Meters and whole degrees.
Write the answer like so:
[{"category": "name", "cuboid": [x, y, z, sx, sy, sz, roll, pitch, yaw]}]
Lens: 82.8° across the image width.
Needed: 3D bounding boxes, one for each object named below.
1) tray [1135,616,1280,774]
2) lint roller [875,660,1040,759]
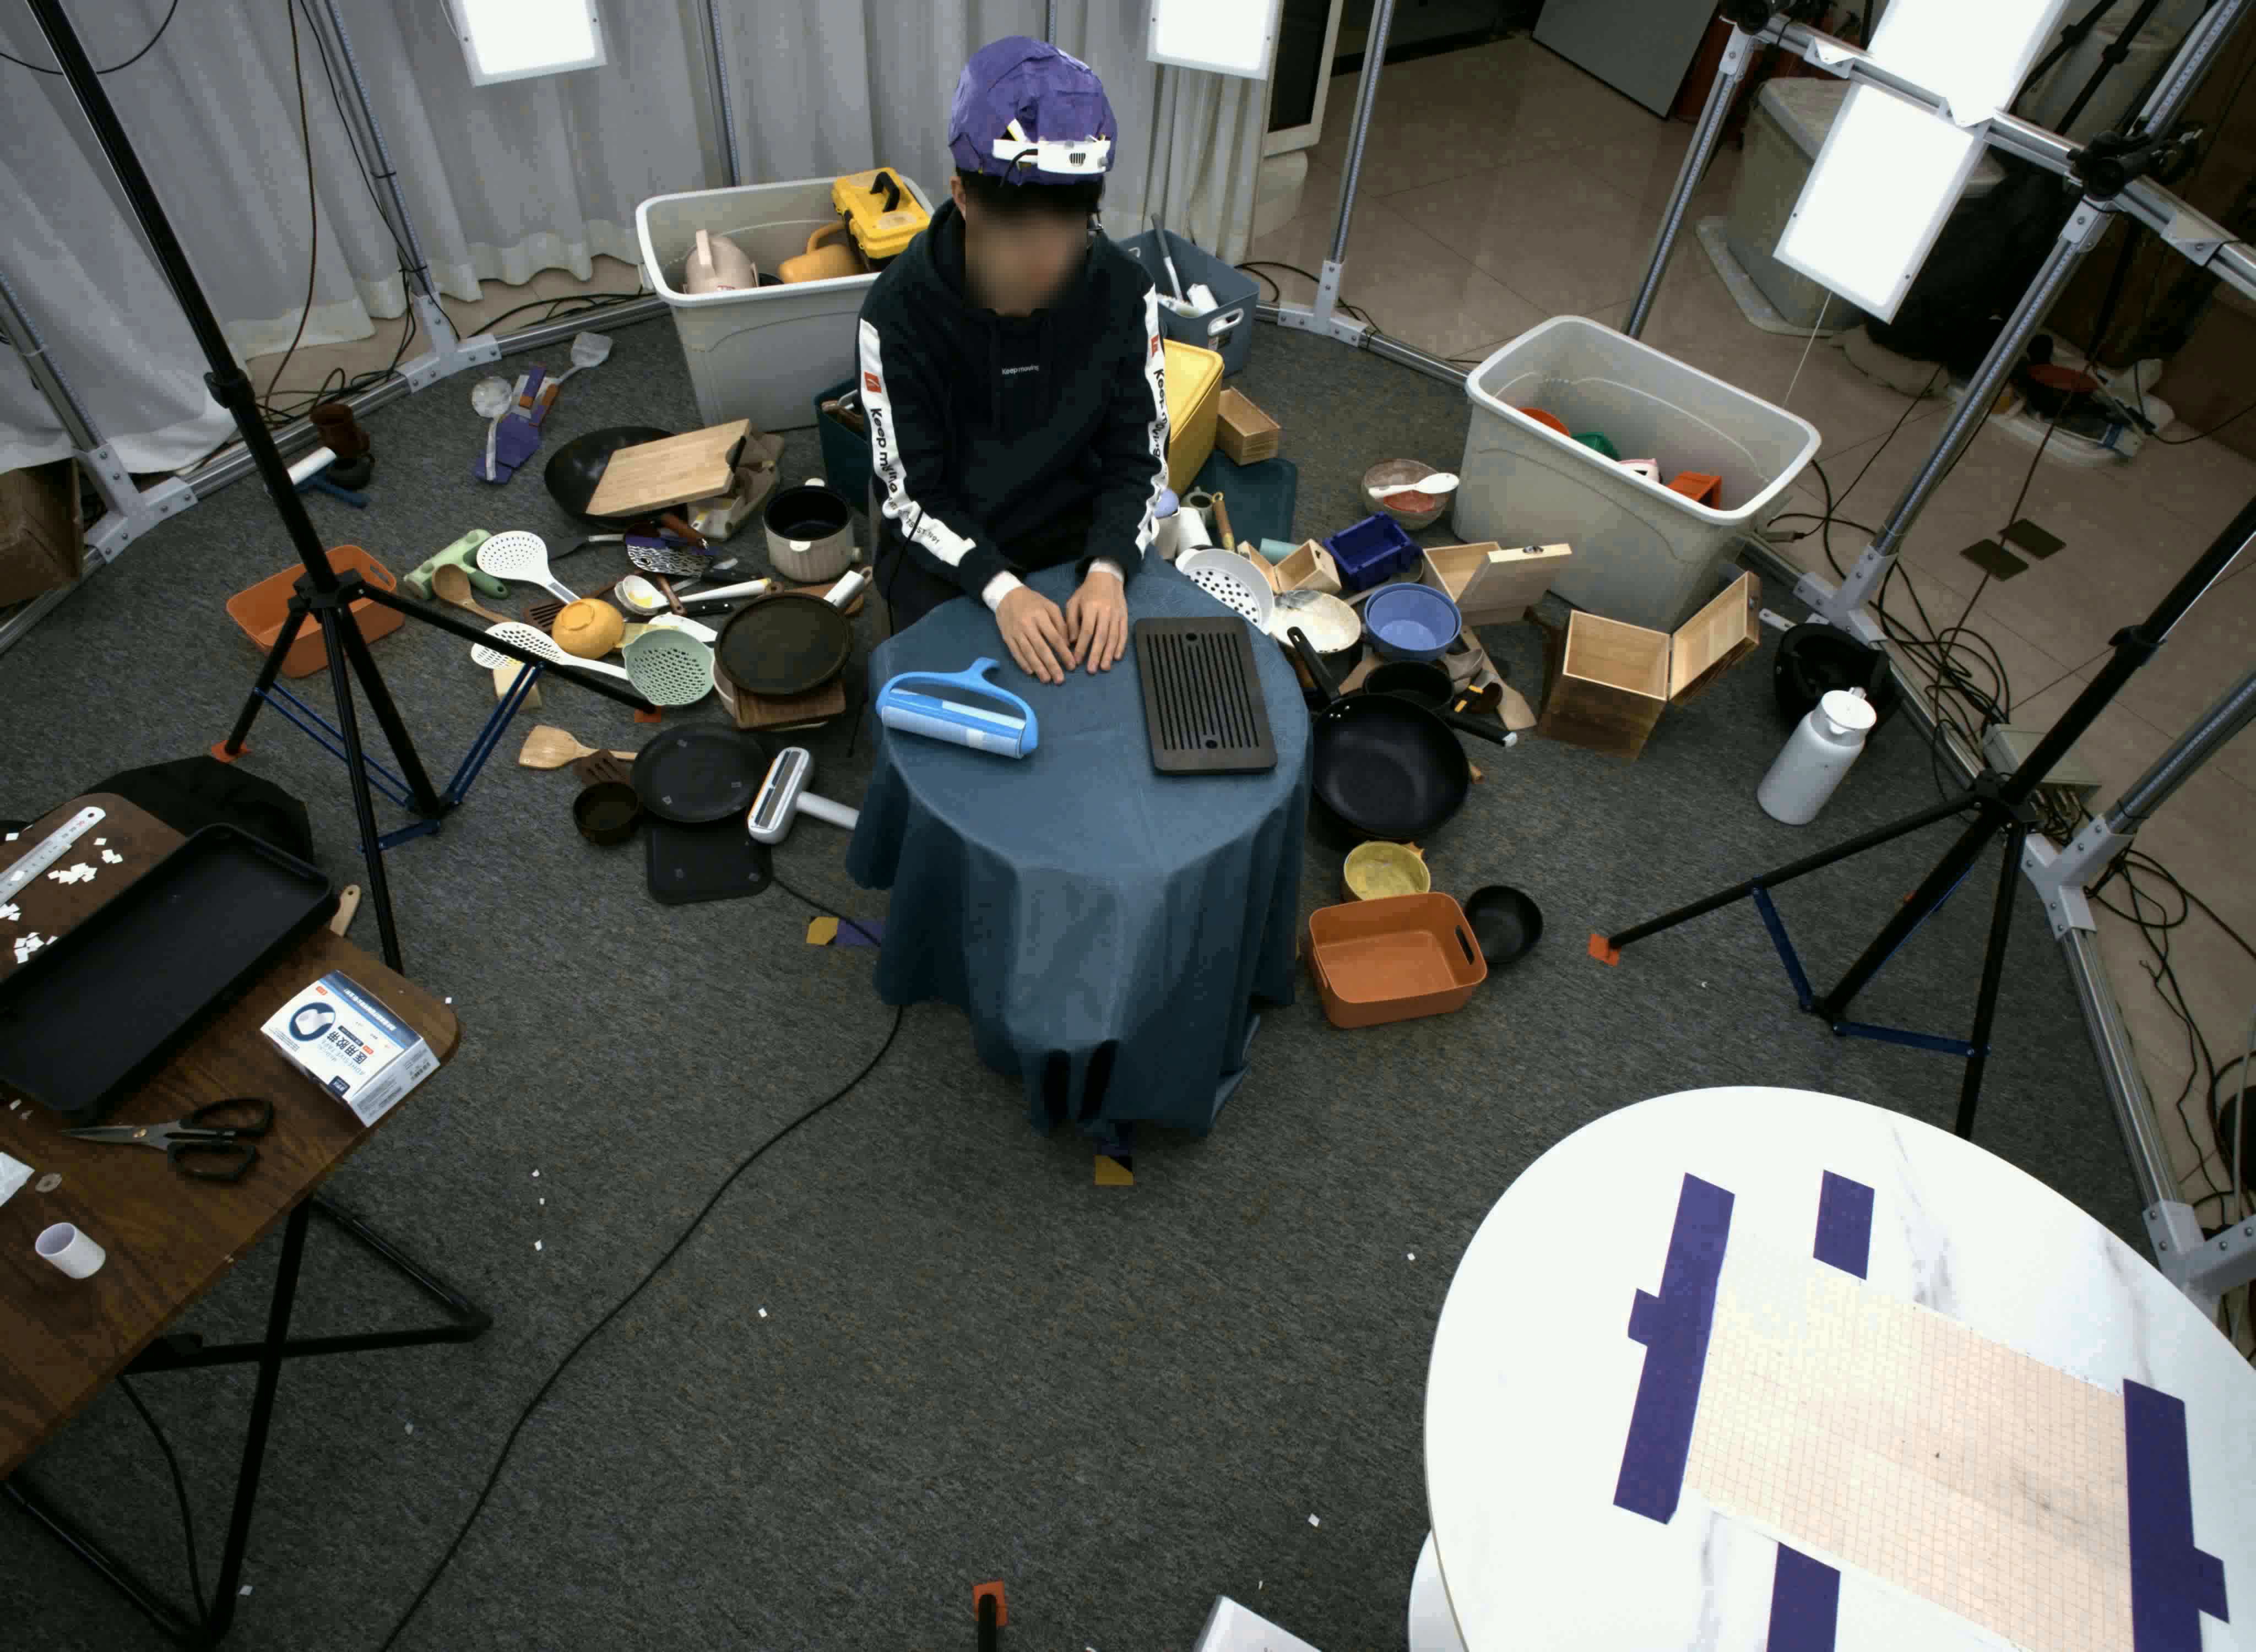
[{"category": "tray", "cuboid": [0.108, -0.191, 1.828, 0.170, 0.018, 0.314, -3, 49, -6]}, {"category": "lint roller", "cuboid": [-0.218, -0.184, 1.776, 0.229, 0.066, 0.184, 11, 51, 8]}]
